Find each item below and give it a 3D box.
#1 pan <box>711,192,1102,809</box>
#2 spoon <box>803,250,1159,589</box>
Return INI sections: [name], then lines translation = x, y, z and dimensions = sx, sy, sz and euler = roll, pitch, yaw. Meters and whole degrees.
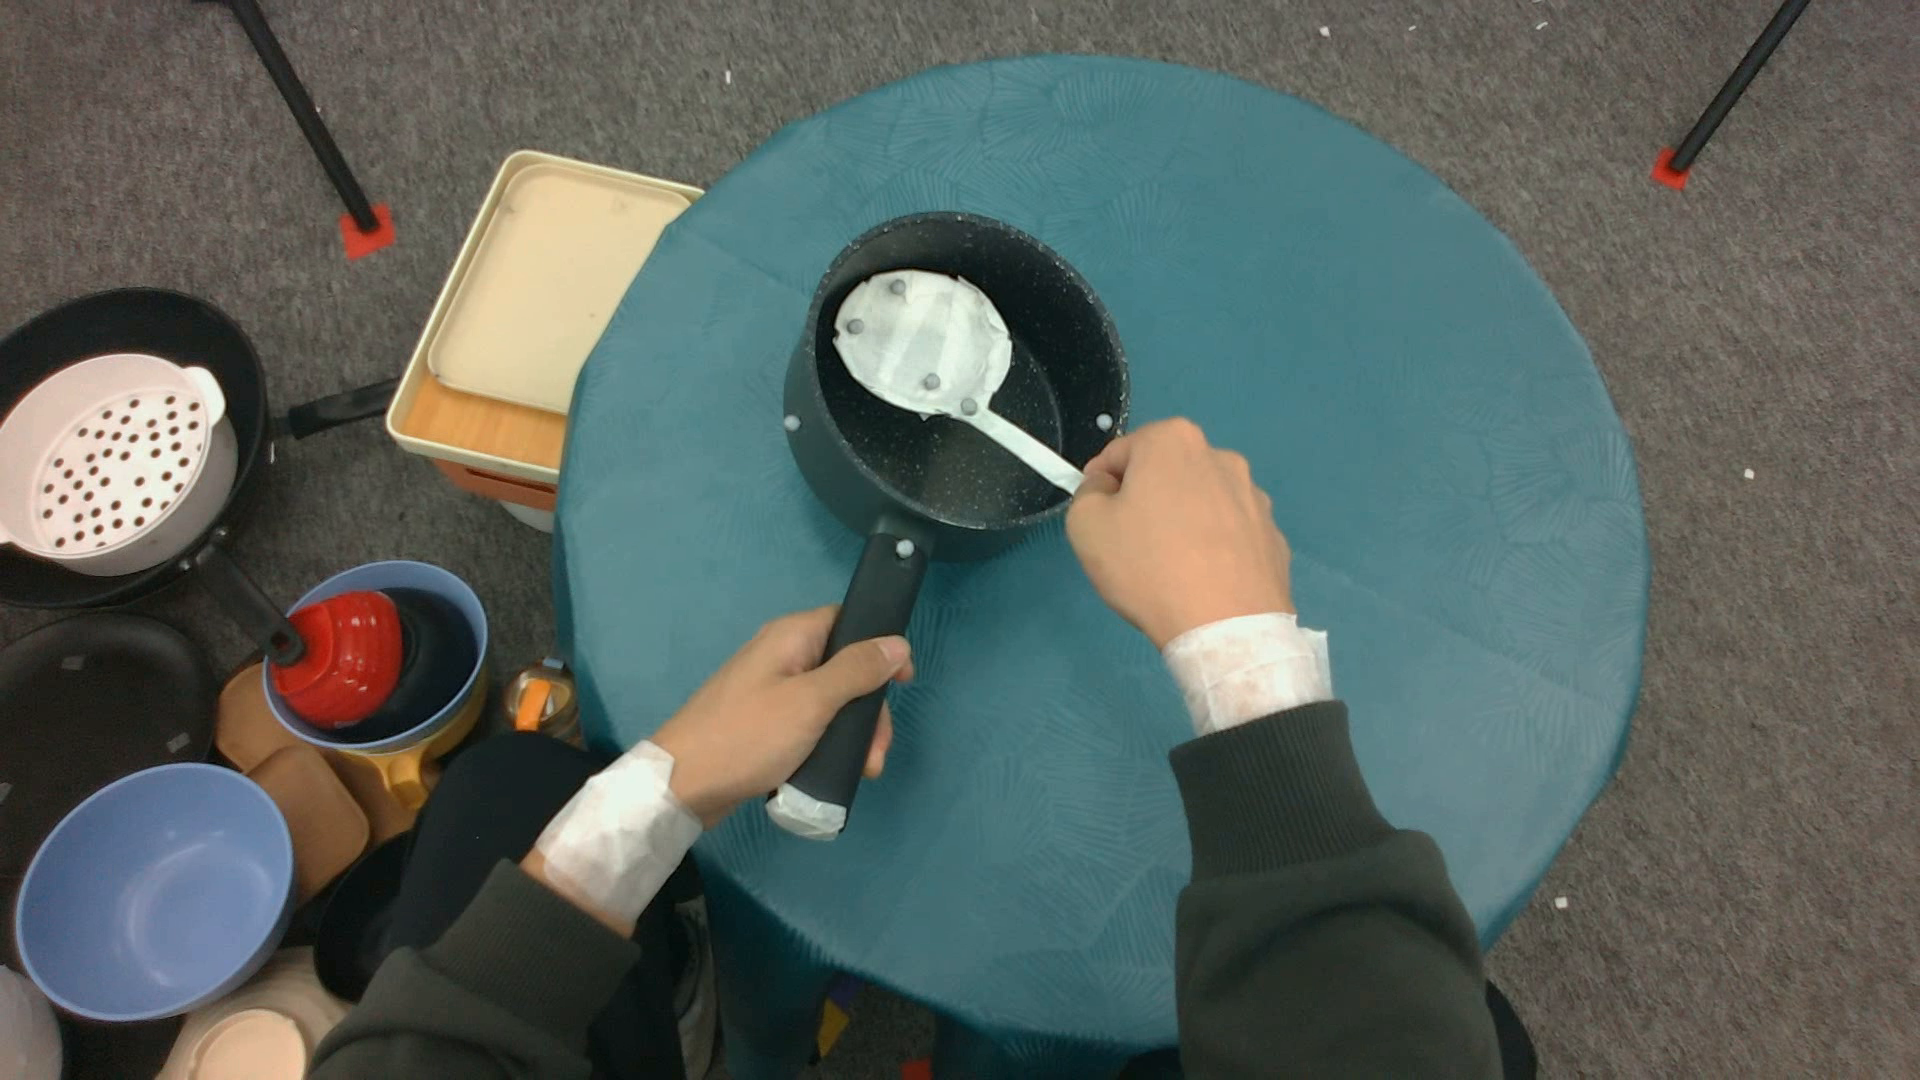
[pan]
translation = -0.045, -0.019, 0.674
dimensions = 0.172, 0.086, 0.330
euler = 26, 63, -9
[spoon]
translation = 0.007, -0.065, 0.632
dimensions = 0.101, 0.059, 0.278
euler = -20, 34, -18
